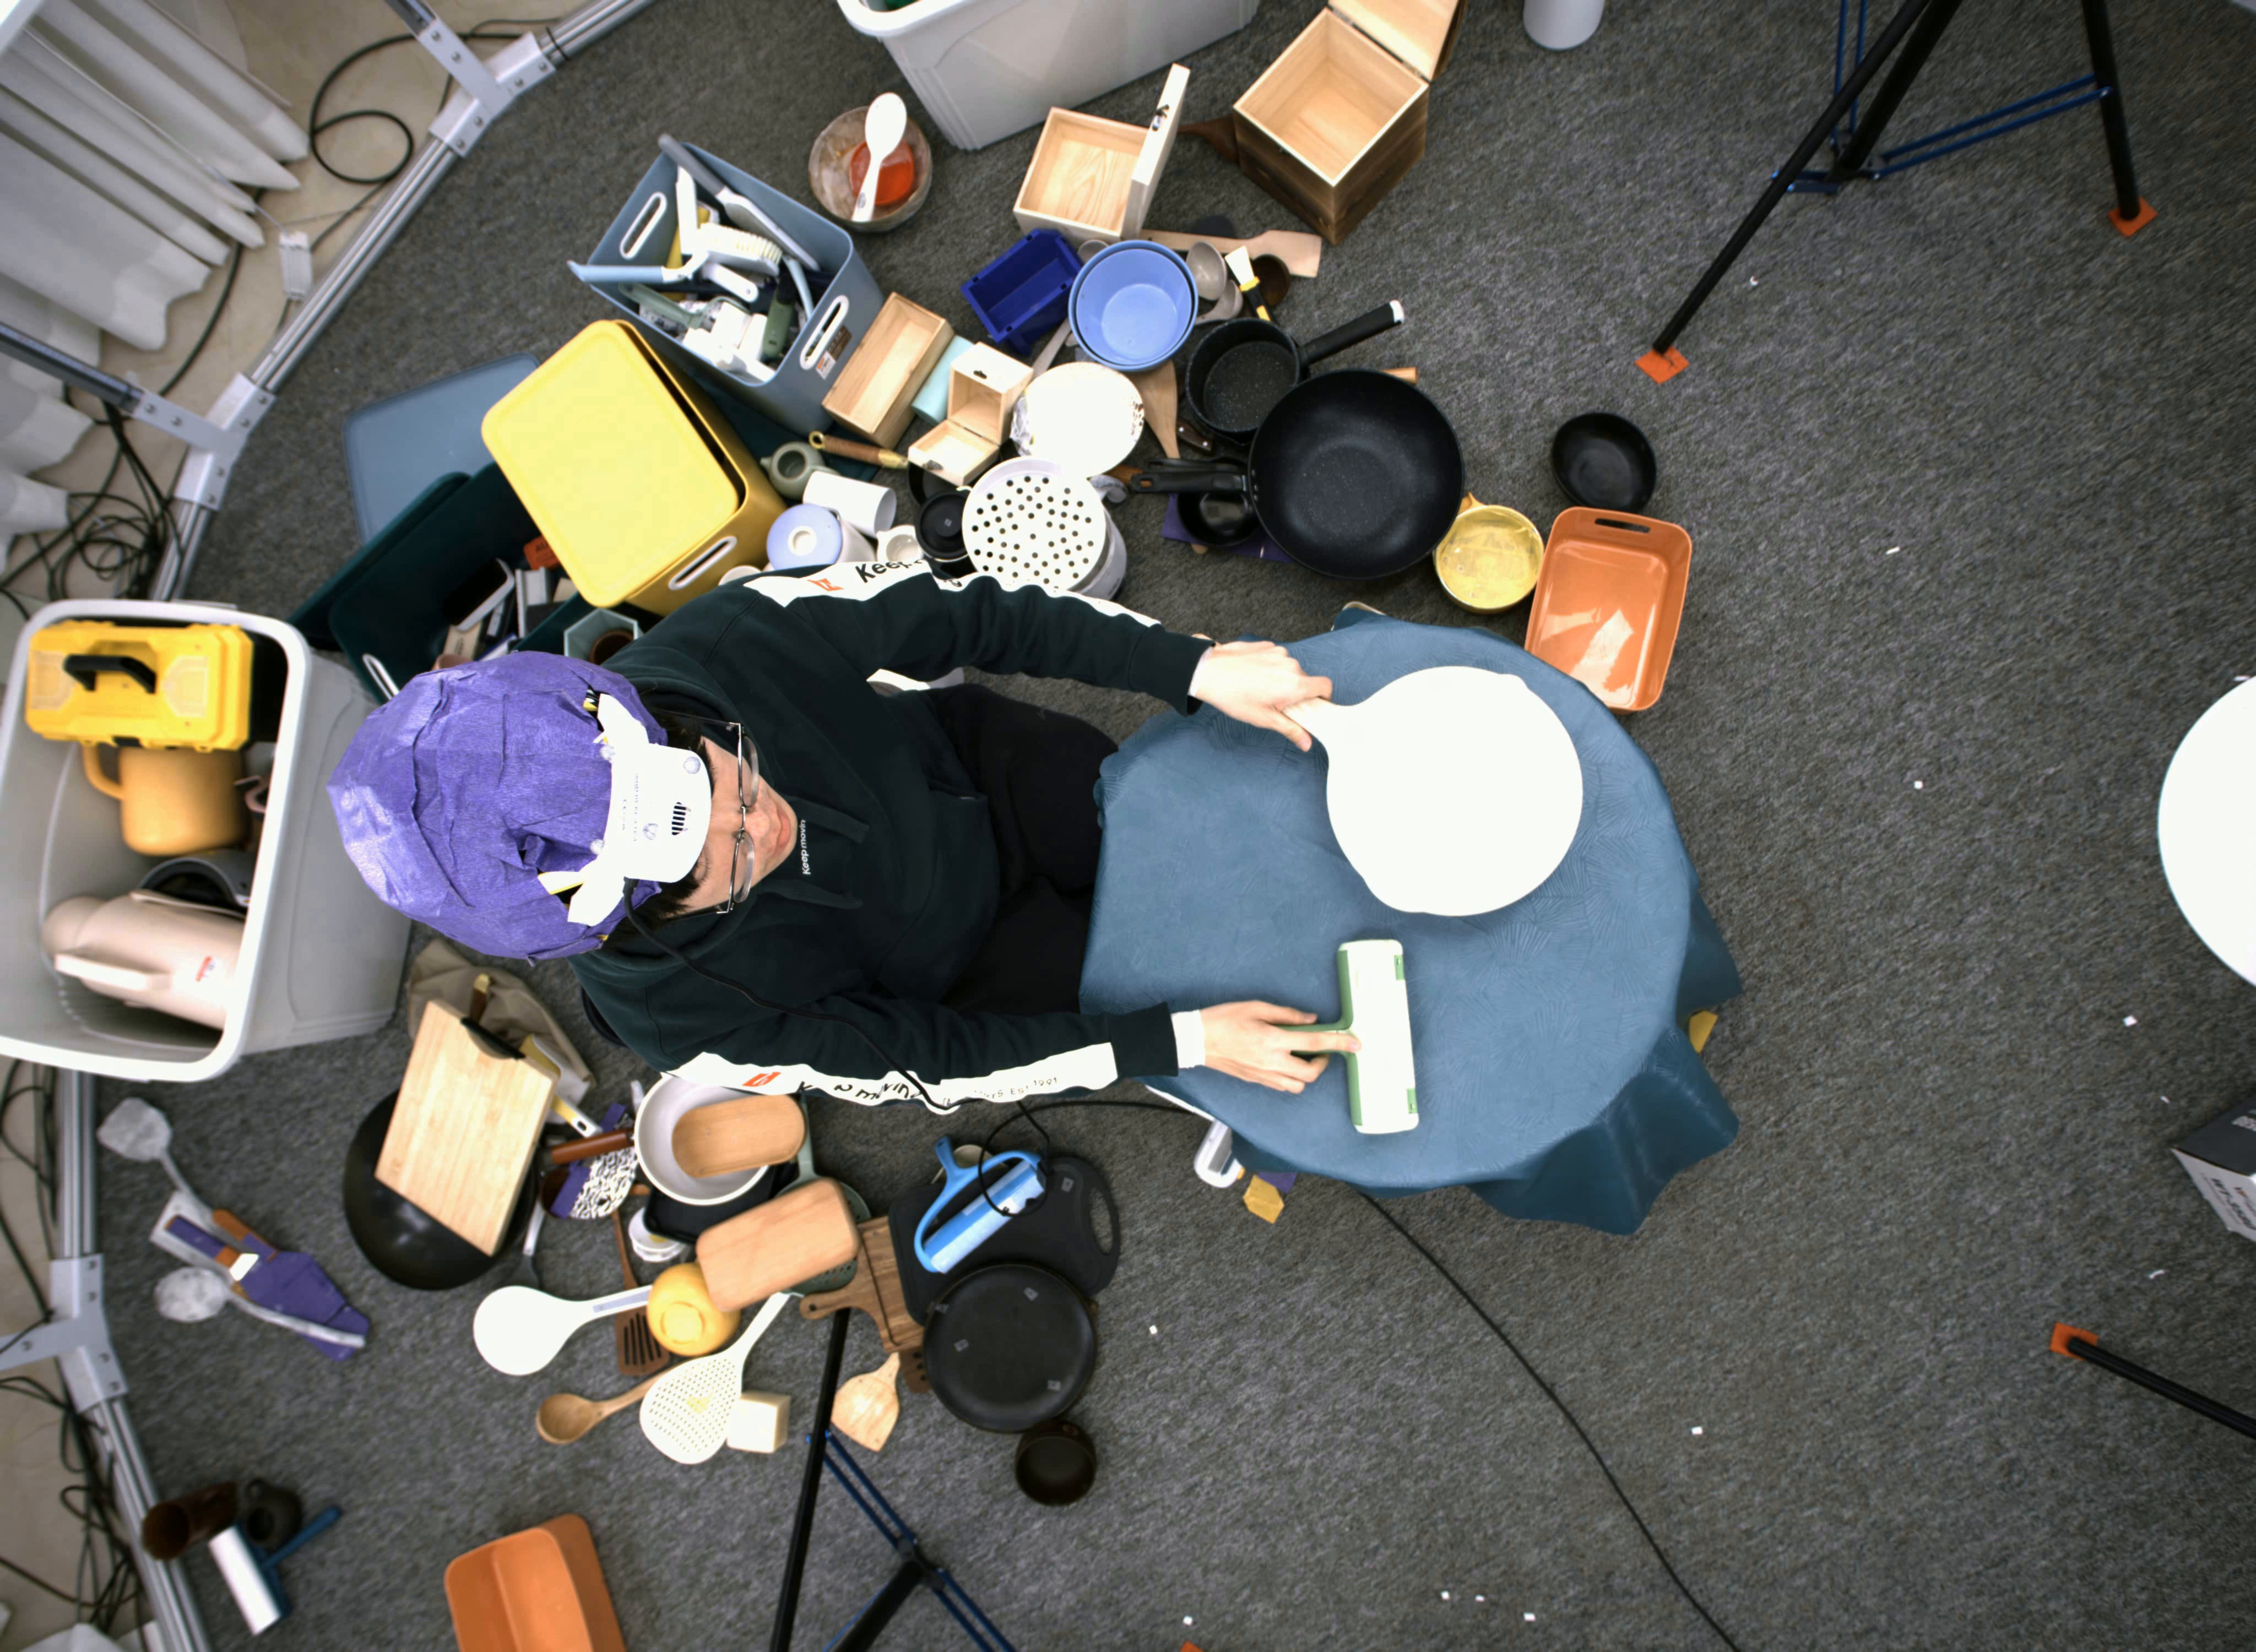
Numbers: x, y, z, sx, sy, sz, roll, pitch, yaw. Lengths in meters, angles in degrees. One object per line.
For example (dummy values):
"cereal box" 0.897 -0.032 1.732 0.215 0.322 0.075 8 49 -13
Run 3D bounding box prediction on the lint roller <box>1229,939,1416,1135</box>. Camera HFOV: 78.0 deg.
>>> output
"lint roller" 0.196 0.219 1.417 0.183 0.082 0.198 -5 87 1

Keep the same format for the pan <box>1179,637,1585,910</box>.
"pan" 0.252 -0.083 1.416 0.434 0.102 0.264 29 94 11
